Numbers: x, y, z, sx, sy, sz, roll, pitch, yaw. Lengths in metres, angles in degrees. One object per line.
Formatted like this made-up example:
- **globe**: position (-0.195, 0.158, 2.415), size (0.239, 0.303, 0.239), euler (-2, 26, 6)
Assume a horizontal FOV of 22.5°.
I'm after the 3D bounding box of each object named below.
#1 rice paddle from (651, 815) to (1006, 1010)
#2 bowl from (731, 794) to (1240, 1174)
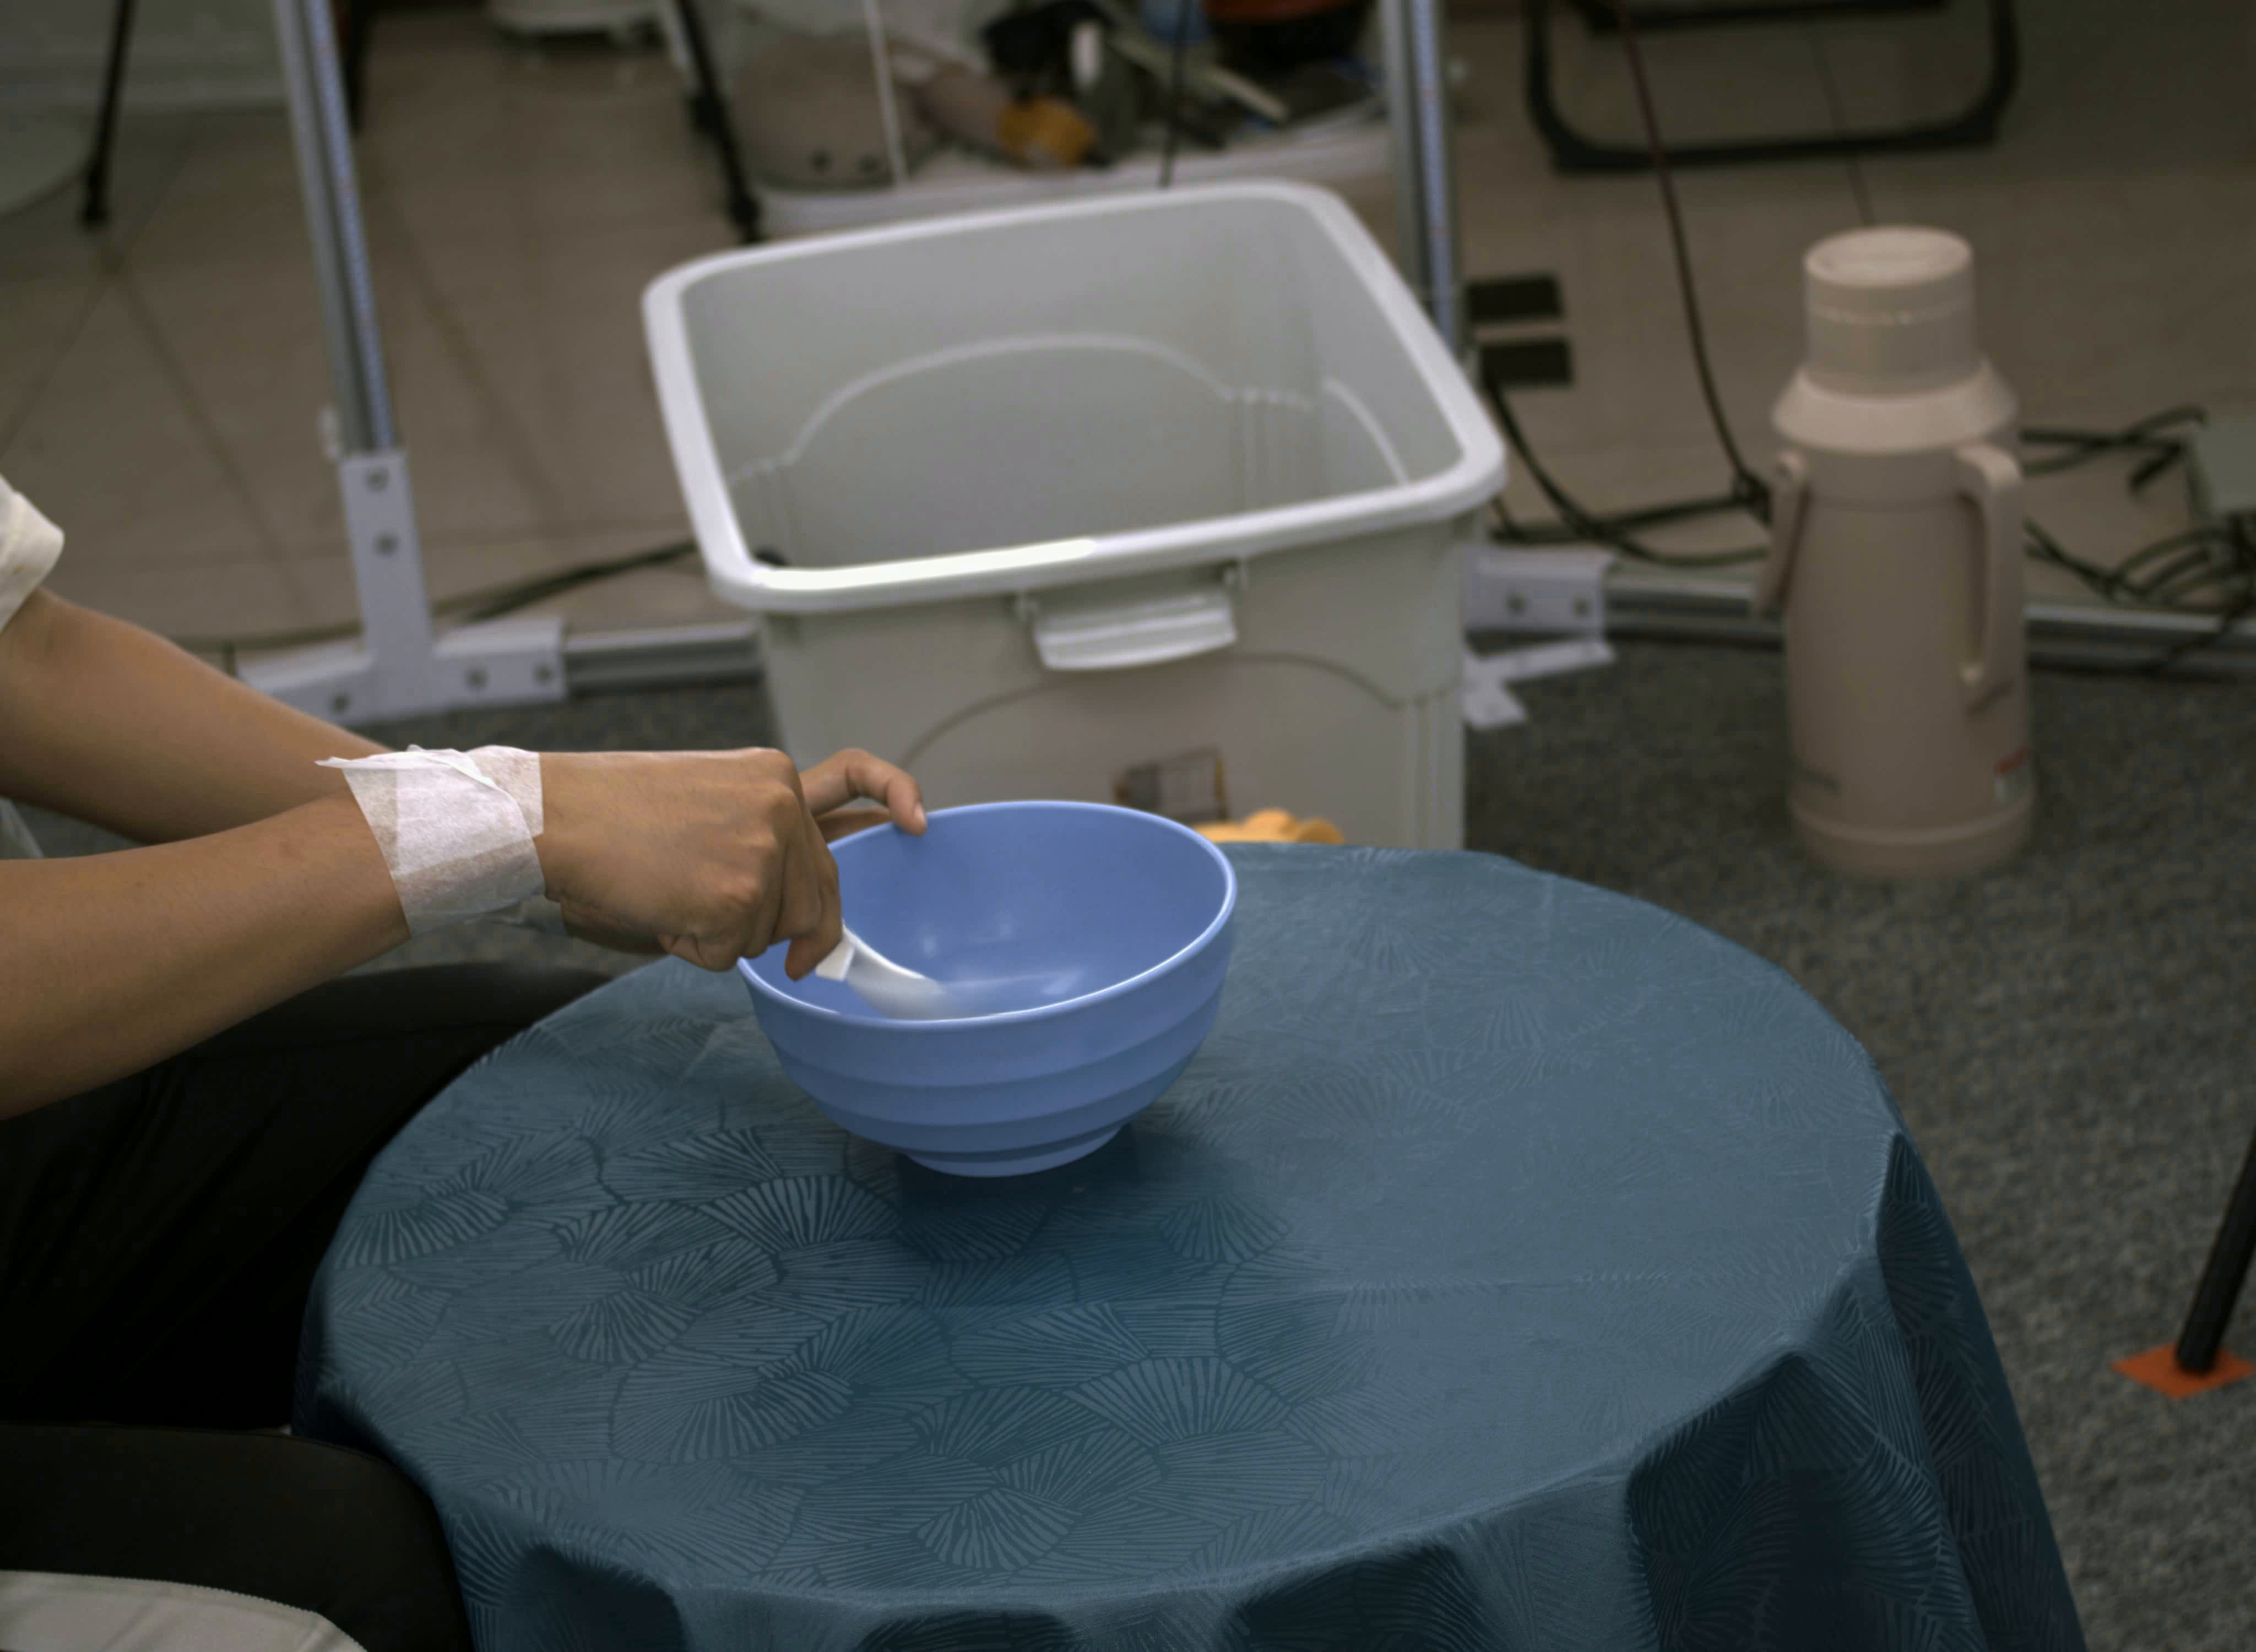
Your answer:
- **rice paddle**: position (-0.106, 0.042, 2.102), size (0.068, 0.029, 0.207), euler (12, -12, 35)
- **bowl**: position (-0.051, 0.072, 2.192), size (0.196, 0.097, 0.193), euler (-4, 26, 2)
